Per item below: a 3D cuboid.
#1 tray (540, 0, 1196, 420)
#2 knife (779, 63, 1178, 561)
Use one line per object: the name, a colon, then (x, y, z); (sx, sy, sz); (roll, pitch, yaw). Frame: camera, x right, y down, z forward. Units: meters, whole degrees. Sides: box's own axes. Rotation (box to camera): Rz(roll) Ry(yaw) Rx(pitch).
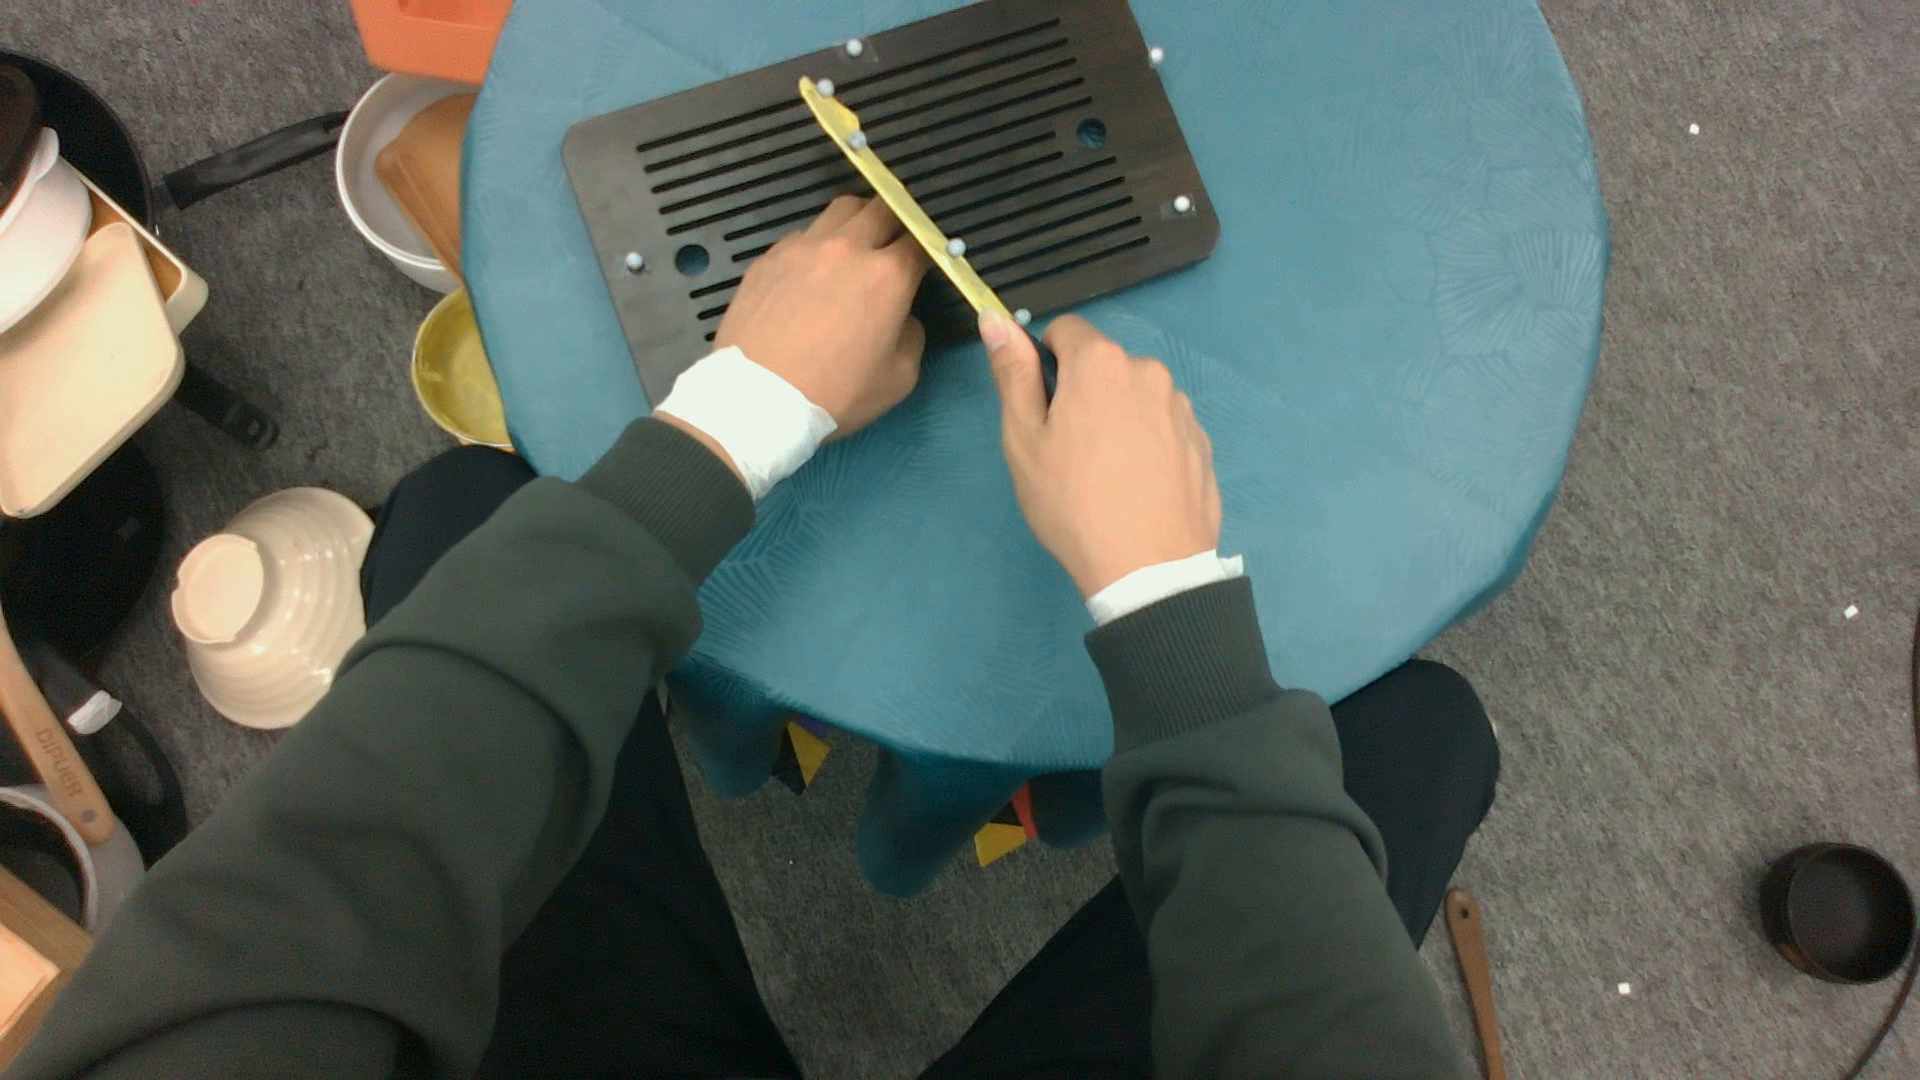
tray: (-0.044, -0.183, 0.708); (0.306, 0.018, 0.170); (-20, 81, -9)
knife: (0.005, -0.108, 0.627); (0.027, 0.081, 0.289); (-39, 83, 16)
